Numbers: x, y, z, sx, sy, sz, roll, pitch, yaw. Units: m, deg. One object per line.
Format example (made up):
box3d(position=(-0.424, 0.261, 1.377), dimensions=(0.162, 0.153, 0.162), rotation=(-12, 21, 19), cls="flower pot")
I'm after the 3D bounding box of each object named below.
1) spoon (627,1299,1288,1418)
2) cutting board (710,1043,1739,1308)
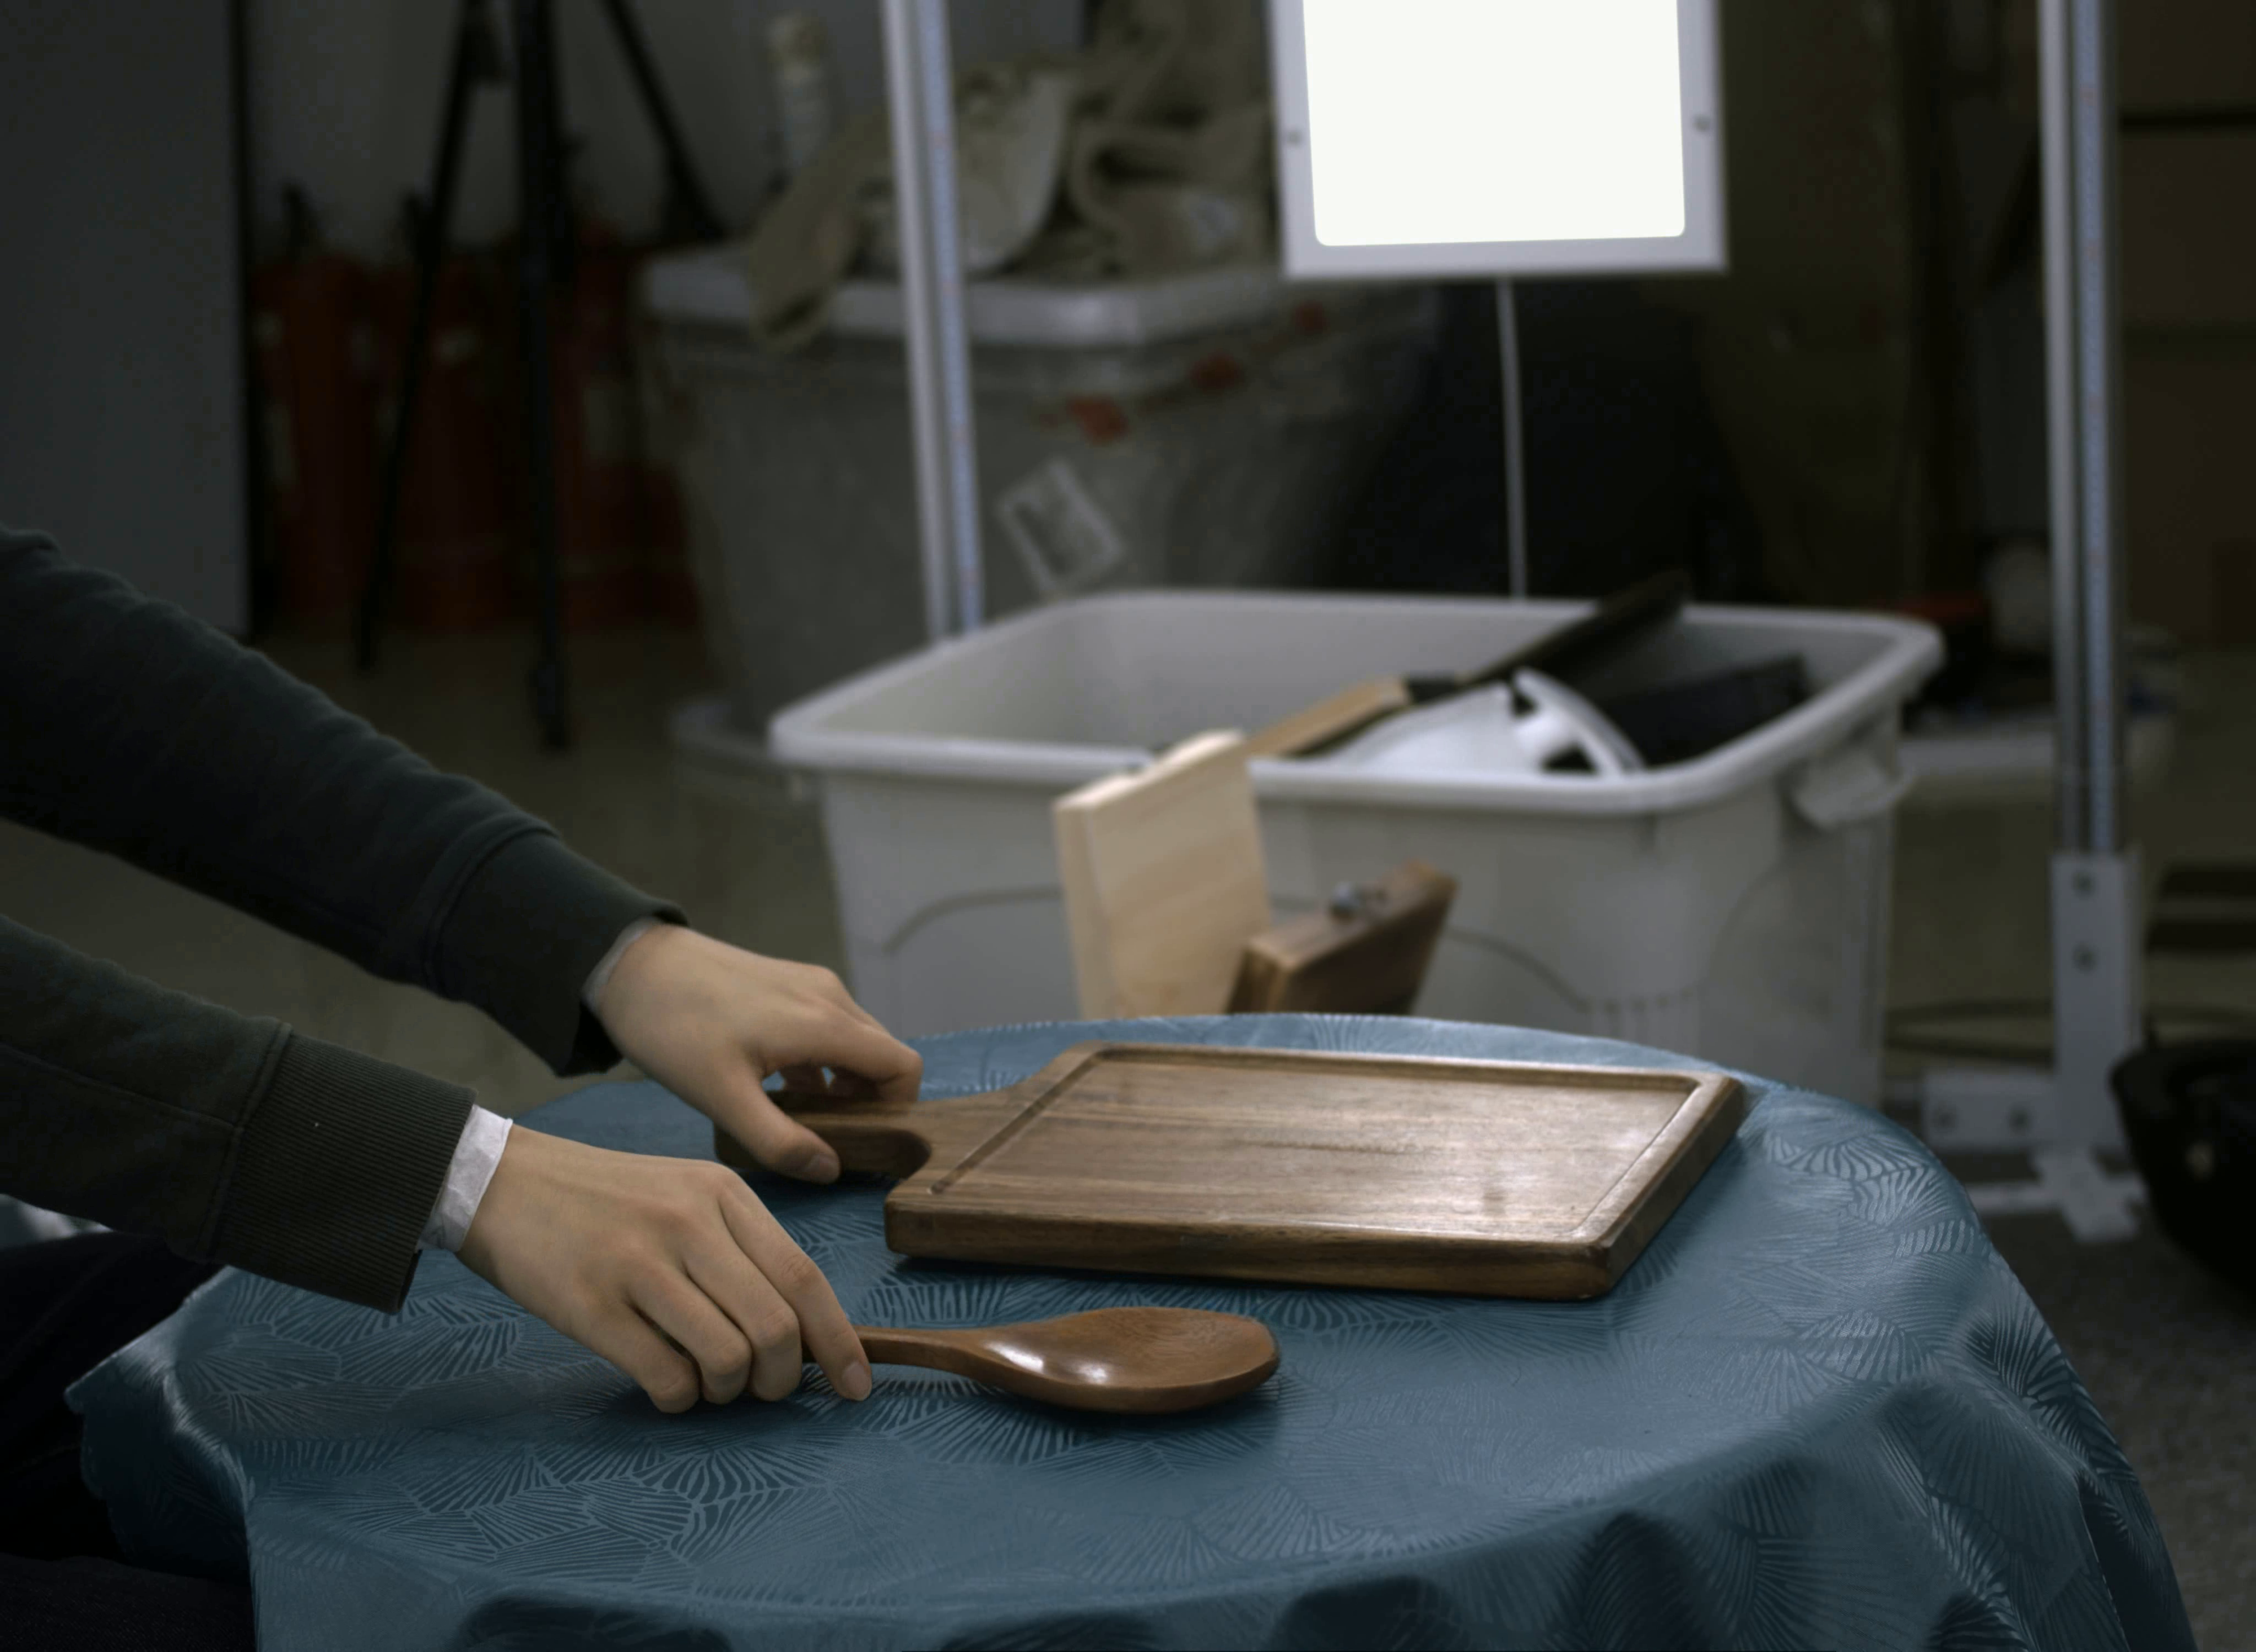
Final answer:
box3d(position=(-0.055, 0.164, 1.719), dimensions=(0.218, 0.017, 0.074), rotation=(2, 18, 19), cls="spoon")
box3d(position=(0.020, 0.114, 1.890), dimensions=(0.357, 0.023, 0.197), rotation=(2, 16, 22), cls="cutting board")
